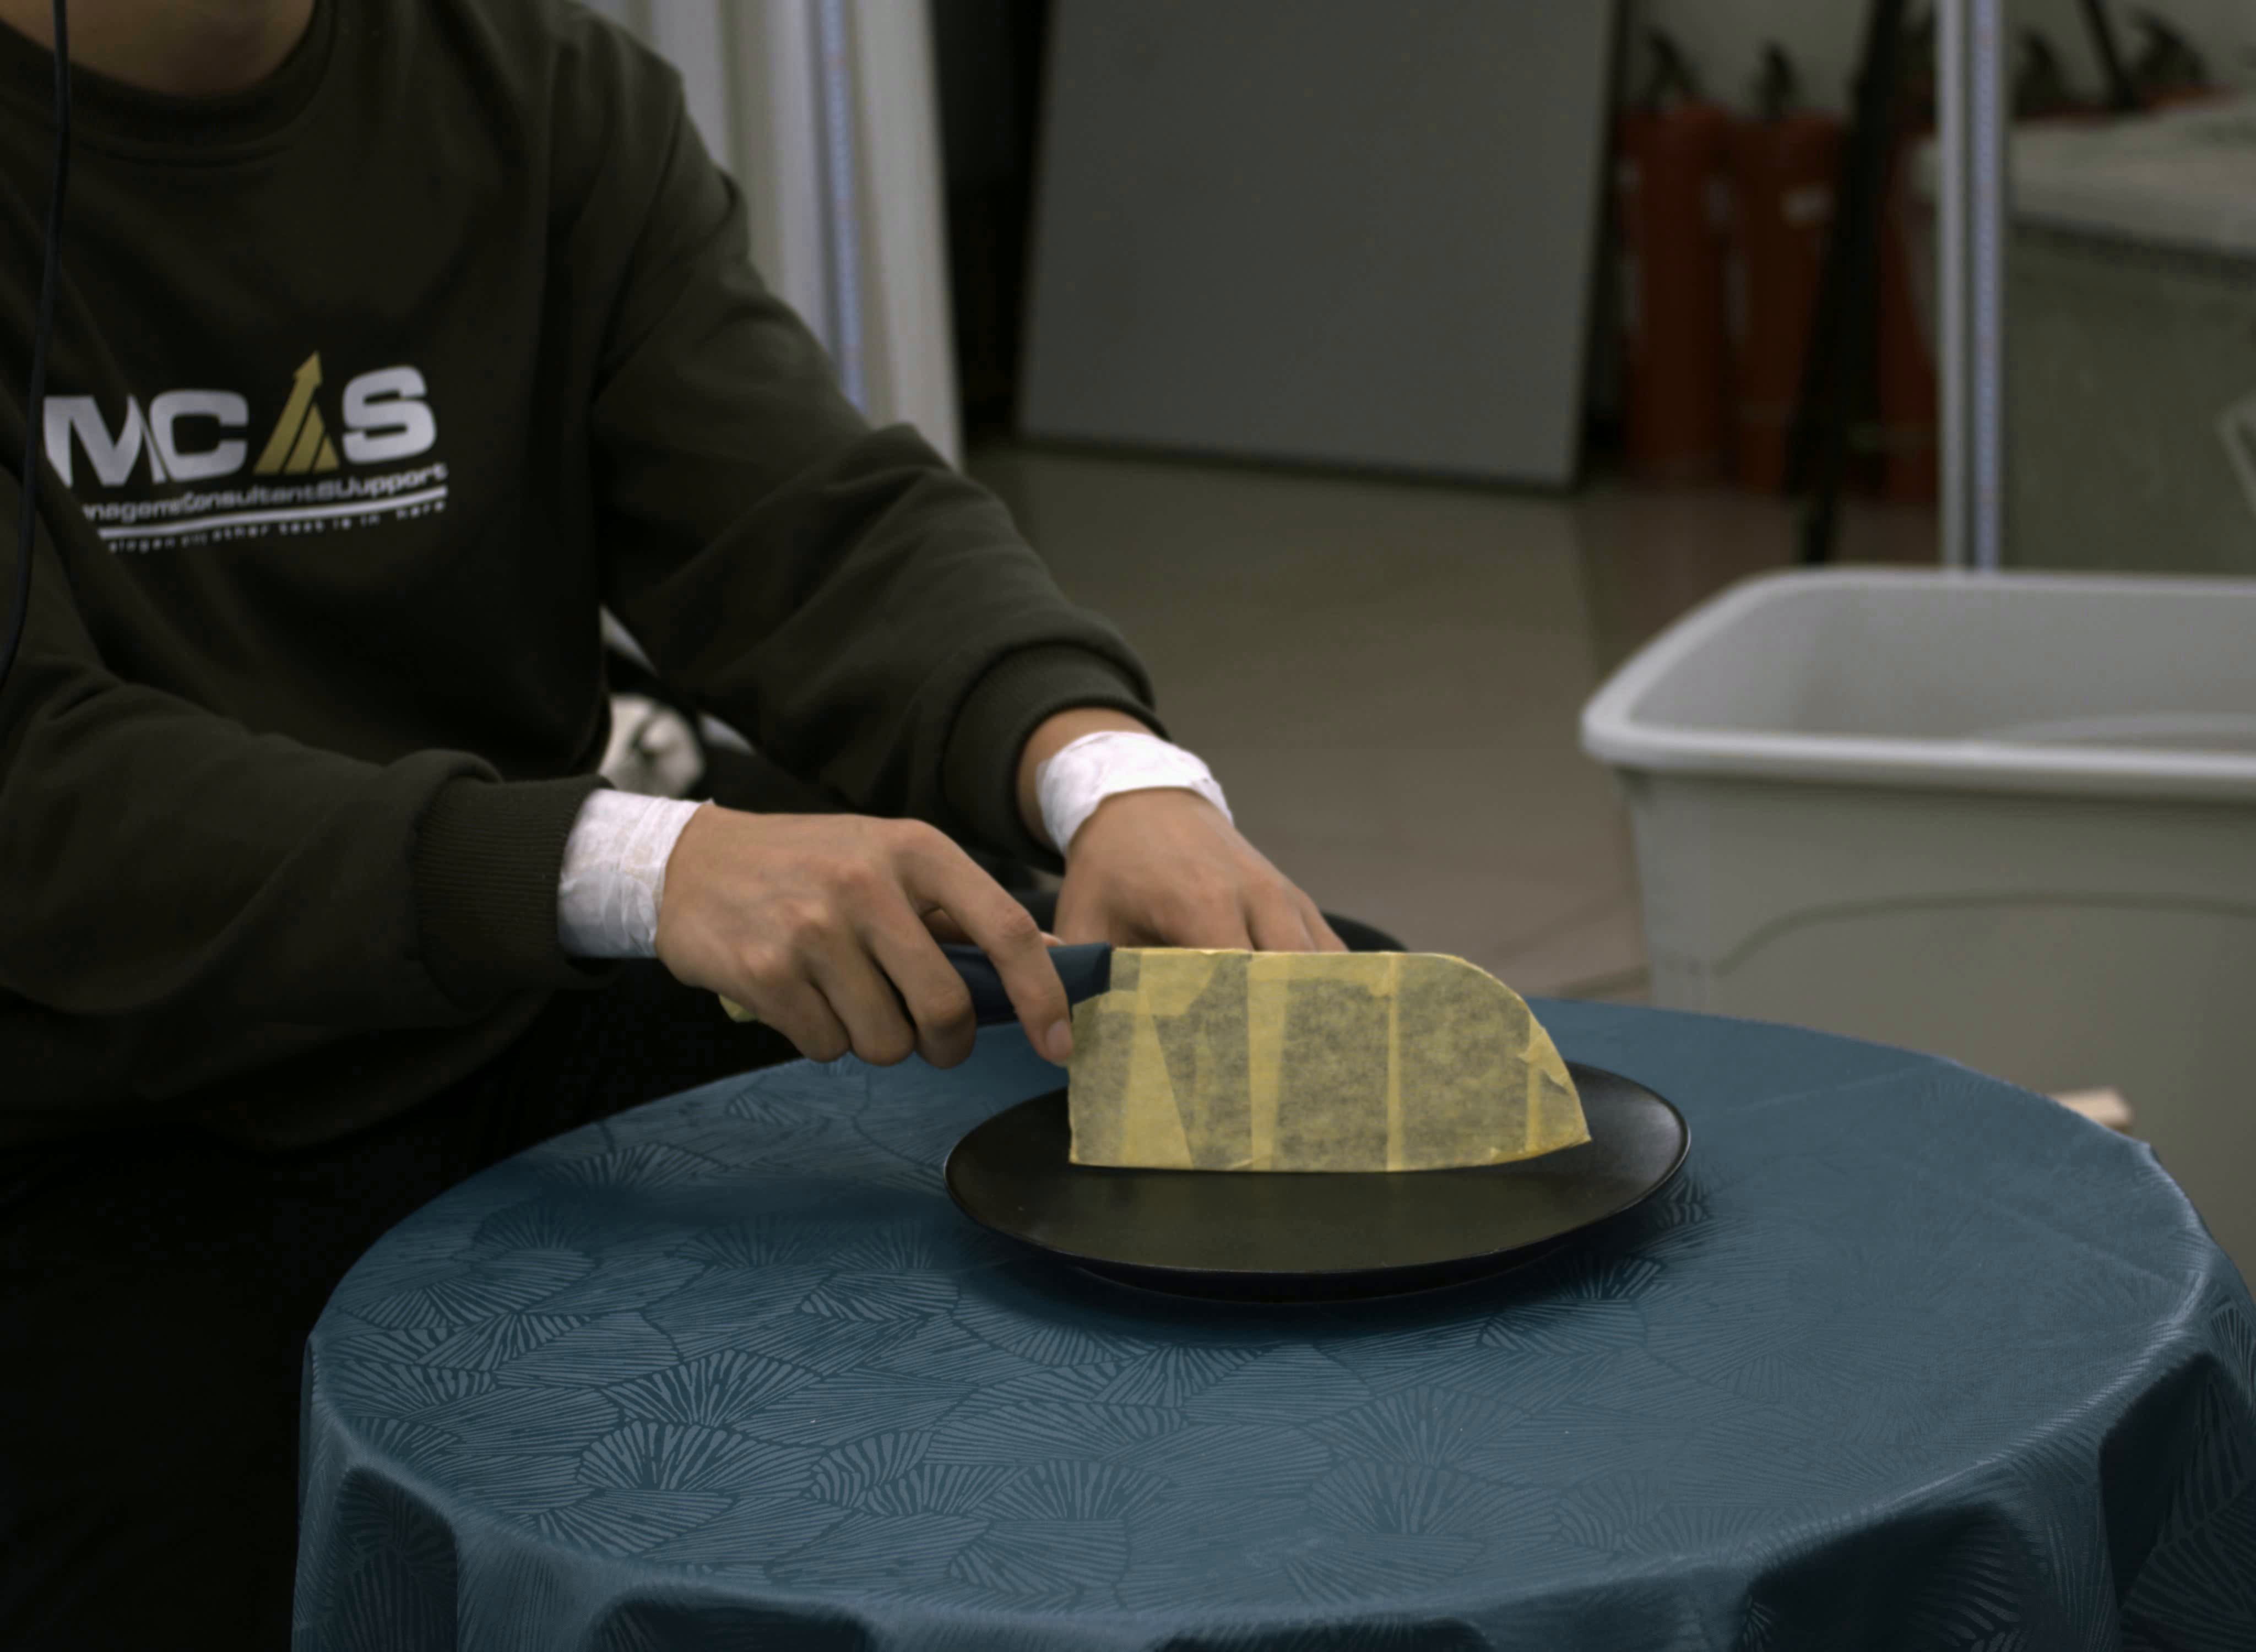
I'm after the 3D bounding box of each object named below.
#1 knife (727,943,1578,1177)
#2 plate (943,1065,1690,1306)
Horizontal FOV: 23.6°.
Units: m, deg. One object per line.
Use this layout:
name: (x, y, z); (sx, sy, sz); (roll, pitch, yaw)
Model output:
knife: (0.006, 0.075, 1.764); (0.288, 0.082, 0.027); (3, 0, 14)
plate: (0.061, 0.115, 1.734); (0.241, 0.024, 0.245); (-4, 13, 0)
